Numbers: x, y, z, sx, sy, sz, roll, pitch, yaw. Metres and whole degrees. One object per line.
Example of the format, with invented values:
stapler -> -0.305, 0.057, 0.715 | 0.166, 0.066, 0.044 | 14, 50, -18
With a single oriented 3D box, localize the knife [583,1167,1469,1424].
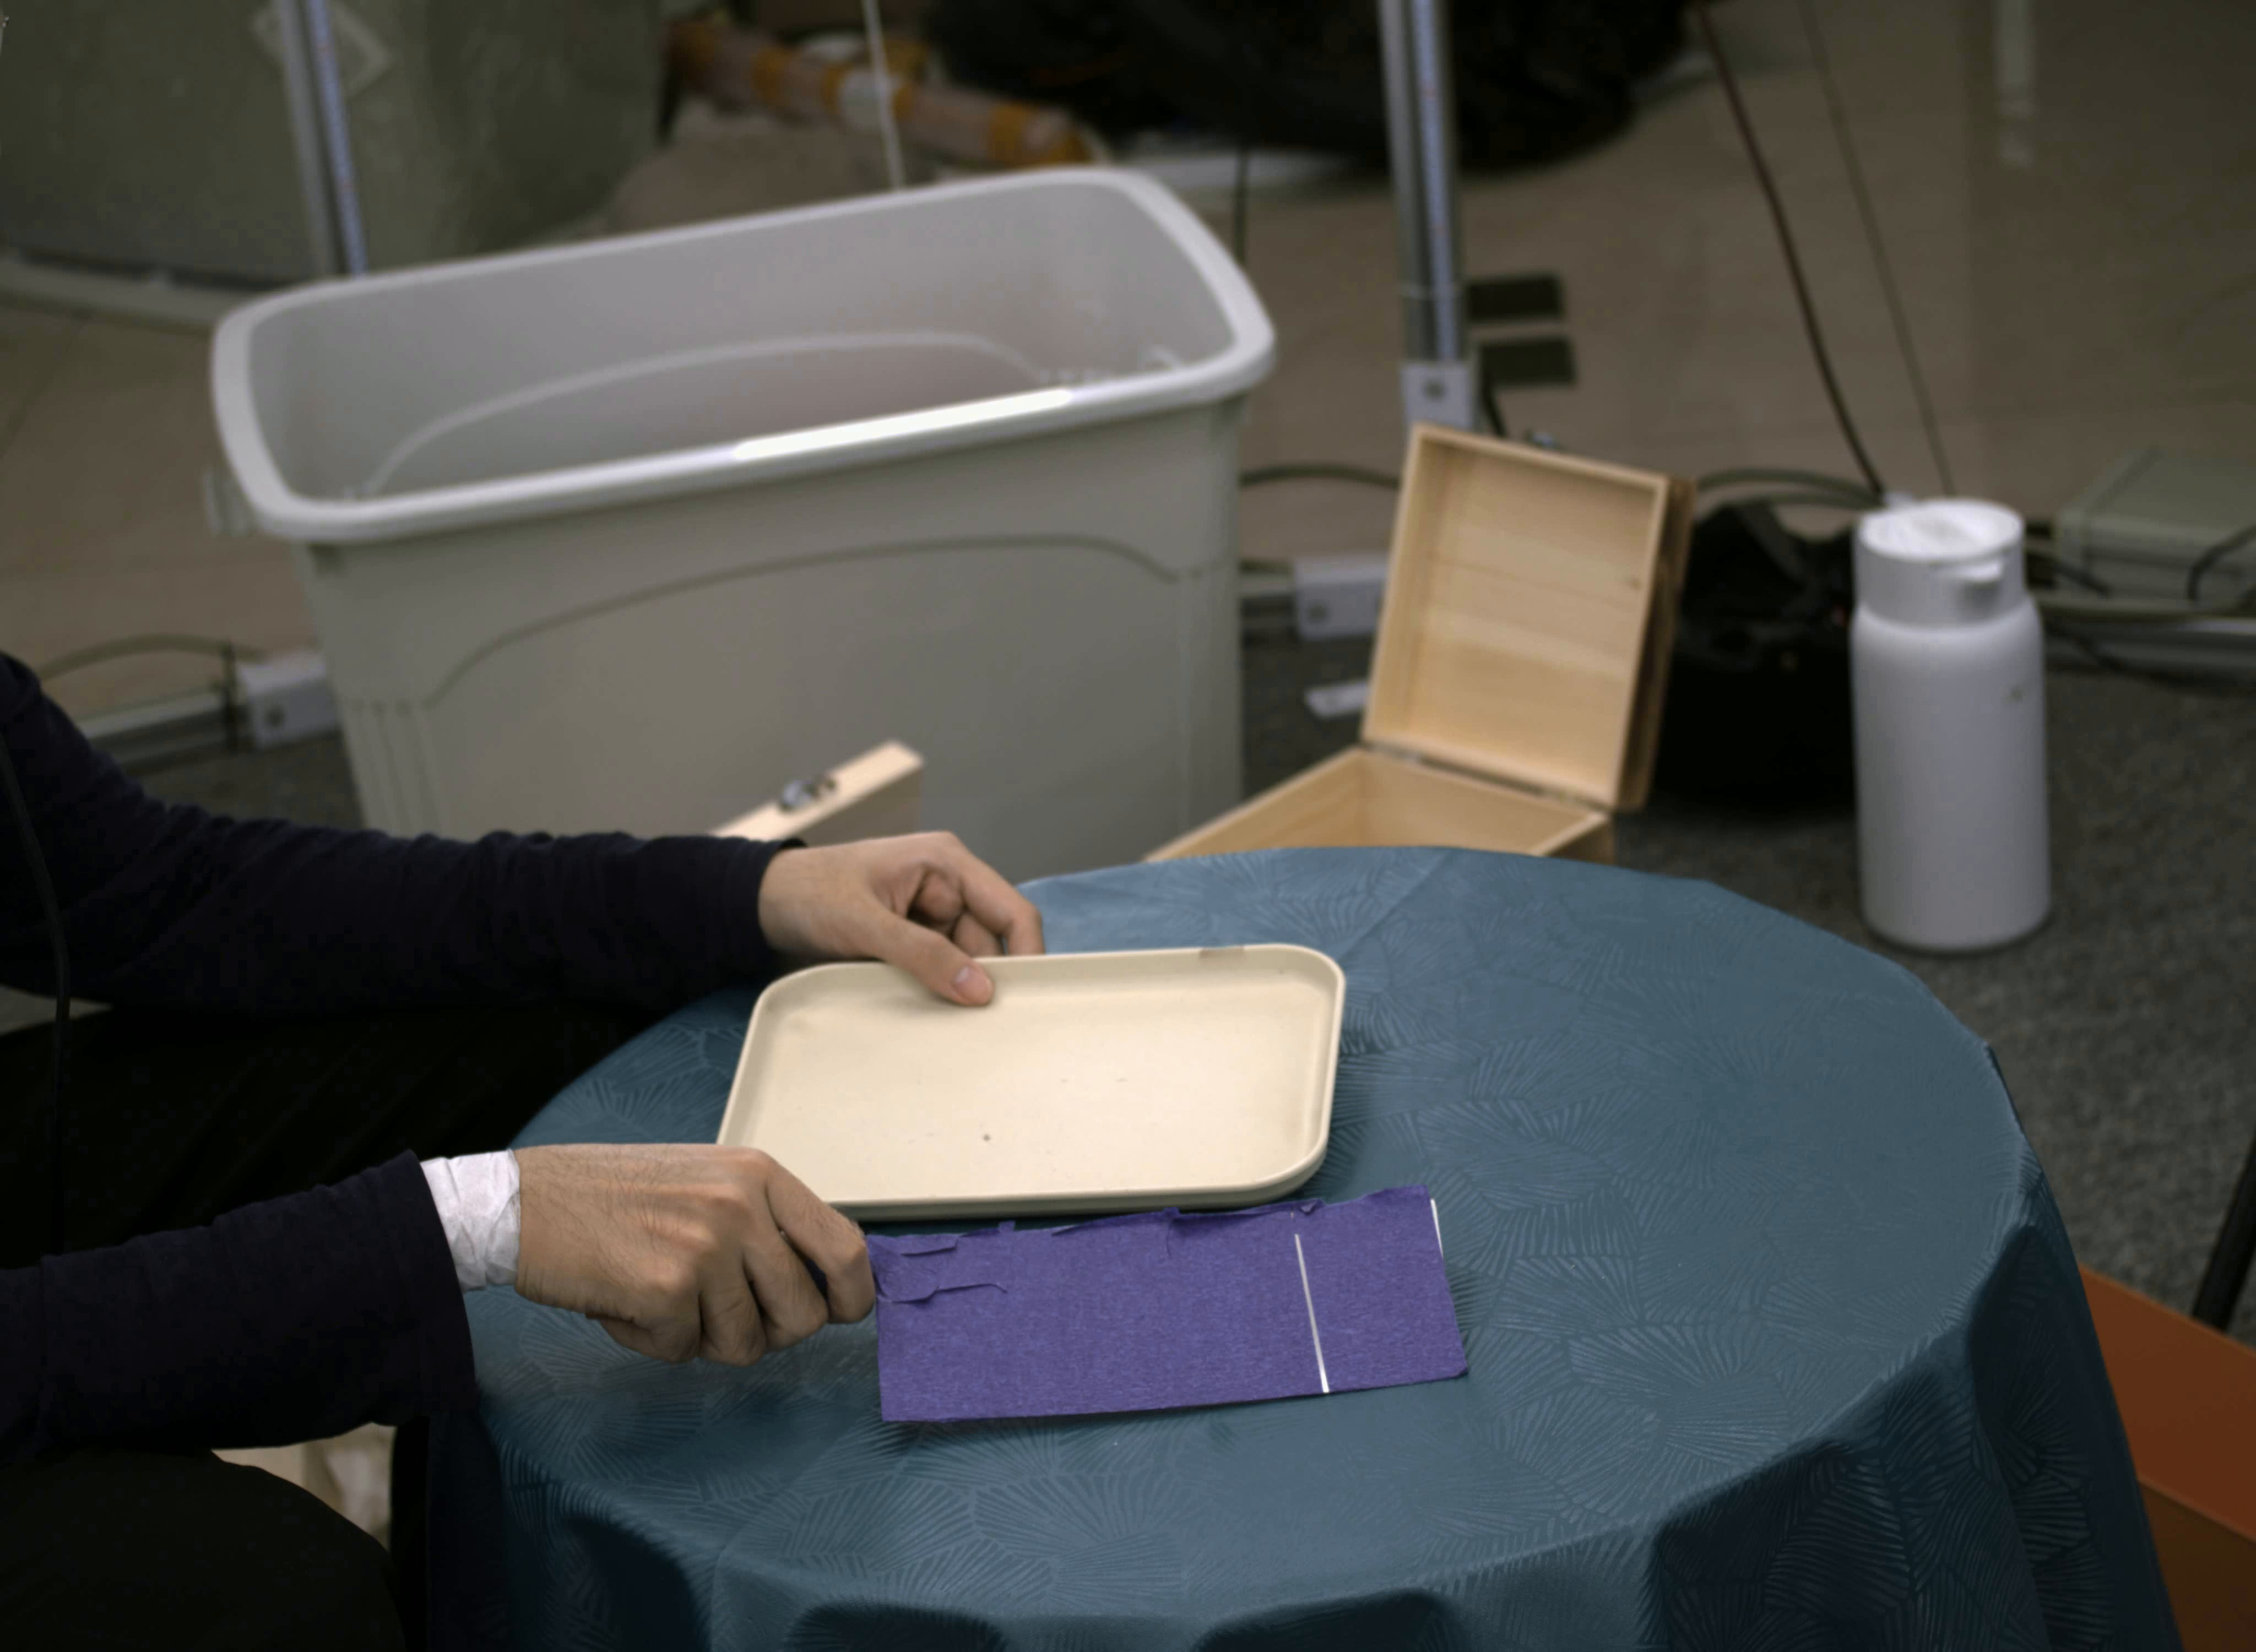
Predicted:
knife -> -0.038, 0.172, 2.027 | 0.315, 0.033, 0.102 | -7, 42, -1

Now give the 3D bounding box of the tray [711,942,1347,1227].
tray -> -0.036, 0.102, 2.202 | 0.239, 0.018, 0.168 | -3, 32, 8
